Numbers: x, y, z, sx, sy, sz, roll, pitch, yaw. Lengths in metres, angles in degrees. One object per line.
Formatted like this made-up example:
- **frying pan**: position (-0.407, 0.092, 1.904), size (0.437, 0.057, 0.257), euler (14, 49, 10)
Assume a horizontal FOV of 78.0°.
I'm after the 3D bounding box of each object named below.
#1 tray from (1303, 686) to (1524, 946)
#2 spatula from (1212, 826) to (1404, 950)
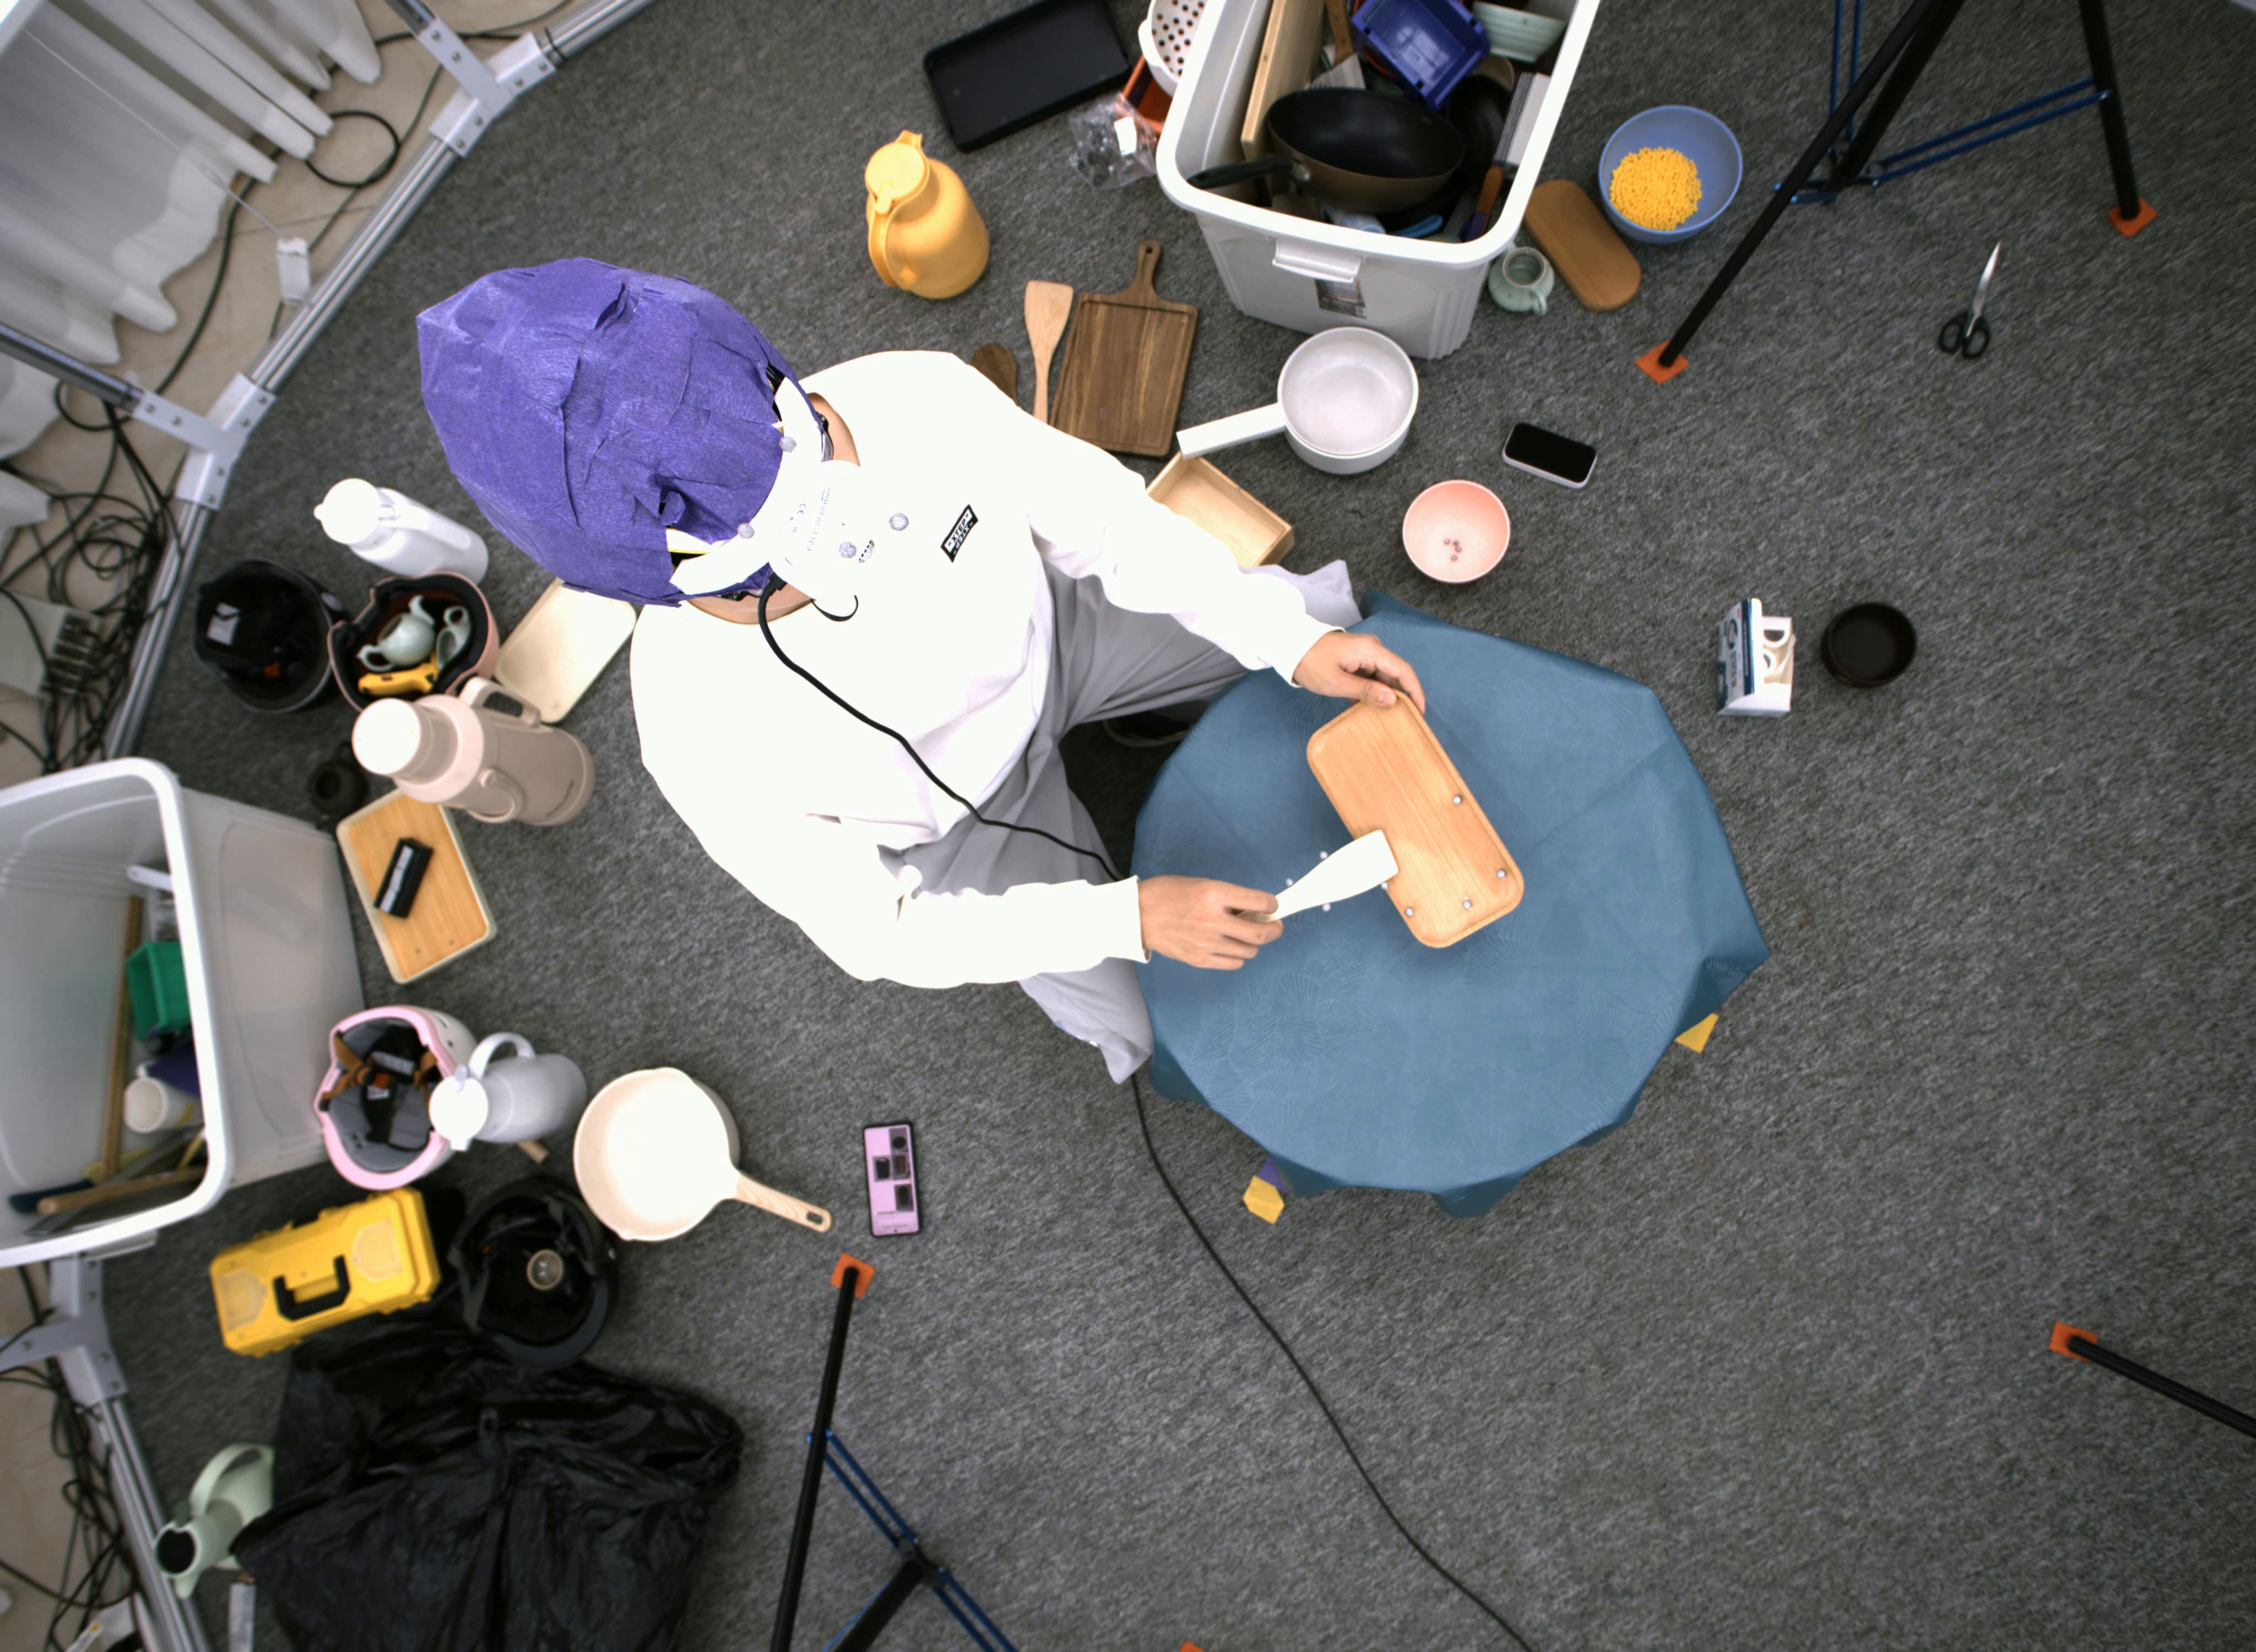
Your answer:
- **tray**: position (0.279, -0.011, 1.352), size (0.133, 0.022, 0.249), euler (-34, 83, 31)
- **spatula**: position (0.173, 0.066, 1.352), size (0.207, 0.005, 0.050), euler (-27, 95, -7)
